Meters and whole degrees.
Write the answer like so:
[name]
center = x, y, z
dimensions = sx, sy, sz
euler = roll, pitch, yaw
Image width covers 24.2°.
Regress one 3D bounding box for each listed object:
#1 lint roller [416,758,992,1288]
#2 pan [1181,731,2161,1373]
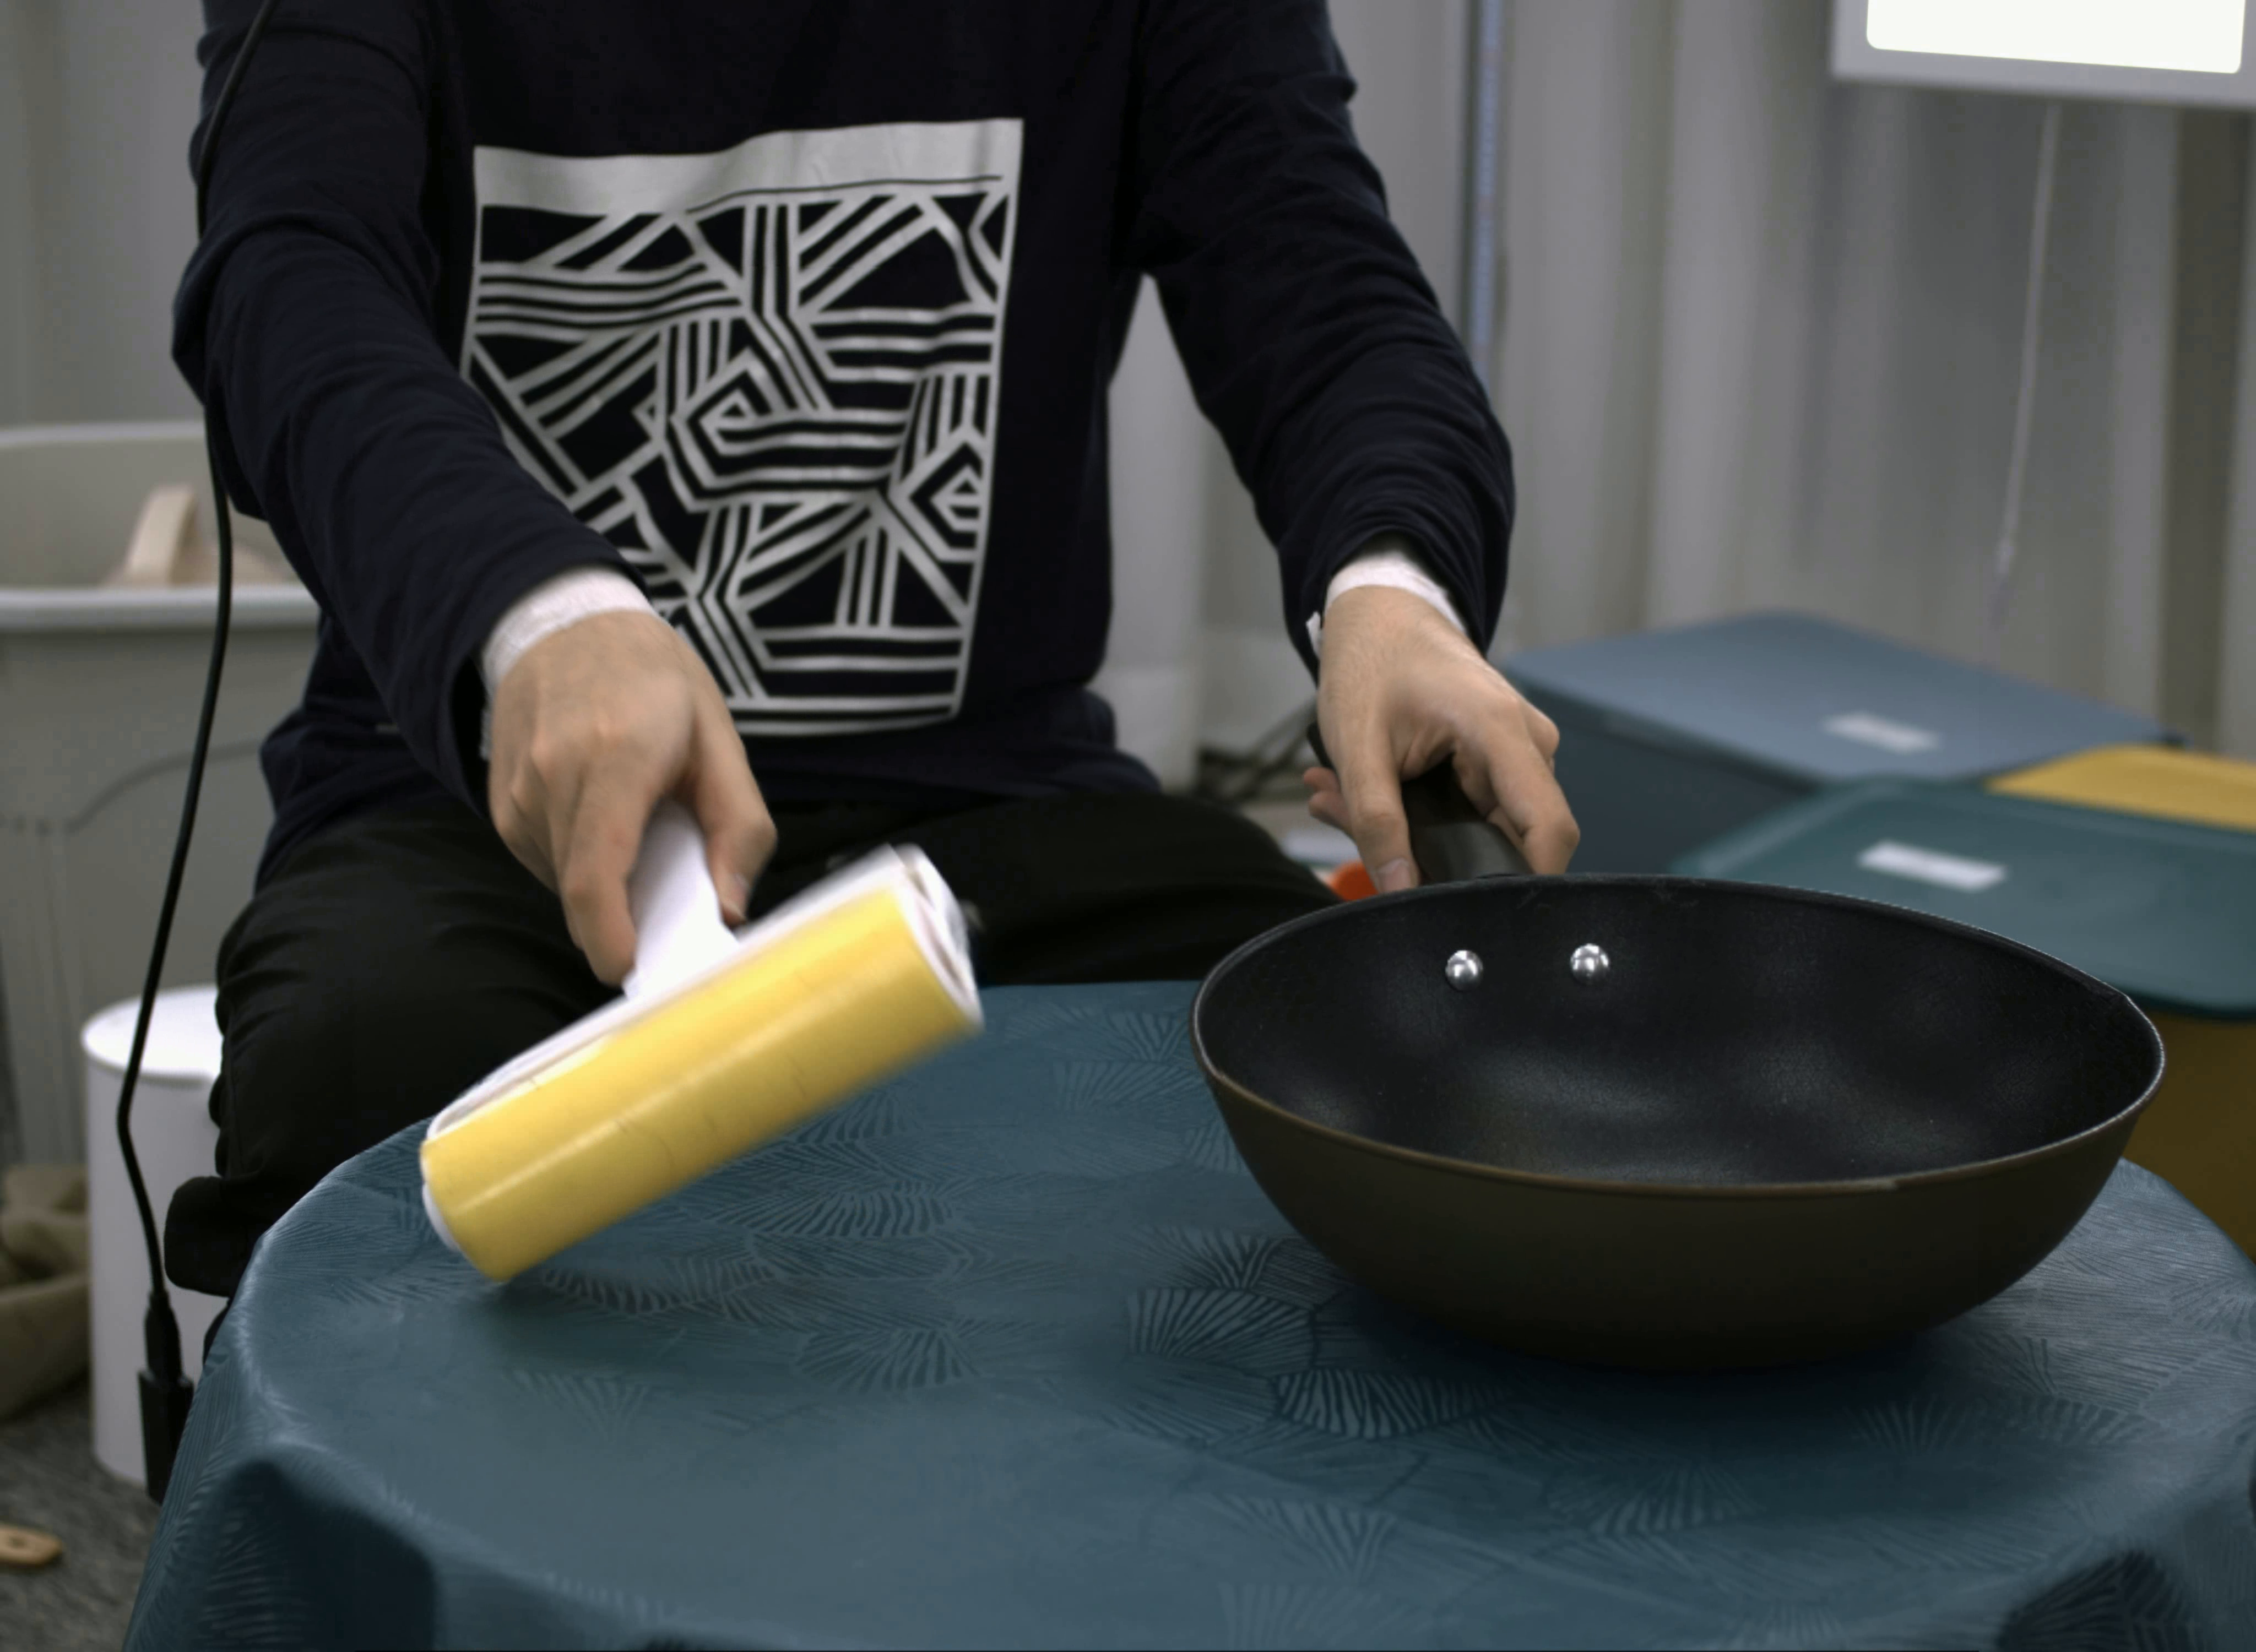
[lint roller]
center = -0.138, 0.032, 1.553
dimensions = 0.174, 0.052, 0.190
euler = -27, 44, 5
[pan]
center = 0.131, 0.067, 1.619
dimensions = 0.288, 0.087, 0.458
euler = -3, 17, -16
